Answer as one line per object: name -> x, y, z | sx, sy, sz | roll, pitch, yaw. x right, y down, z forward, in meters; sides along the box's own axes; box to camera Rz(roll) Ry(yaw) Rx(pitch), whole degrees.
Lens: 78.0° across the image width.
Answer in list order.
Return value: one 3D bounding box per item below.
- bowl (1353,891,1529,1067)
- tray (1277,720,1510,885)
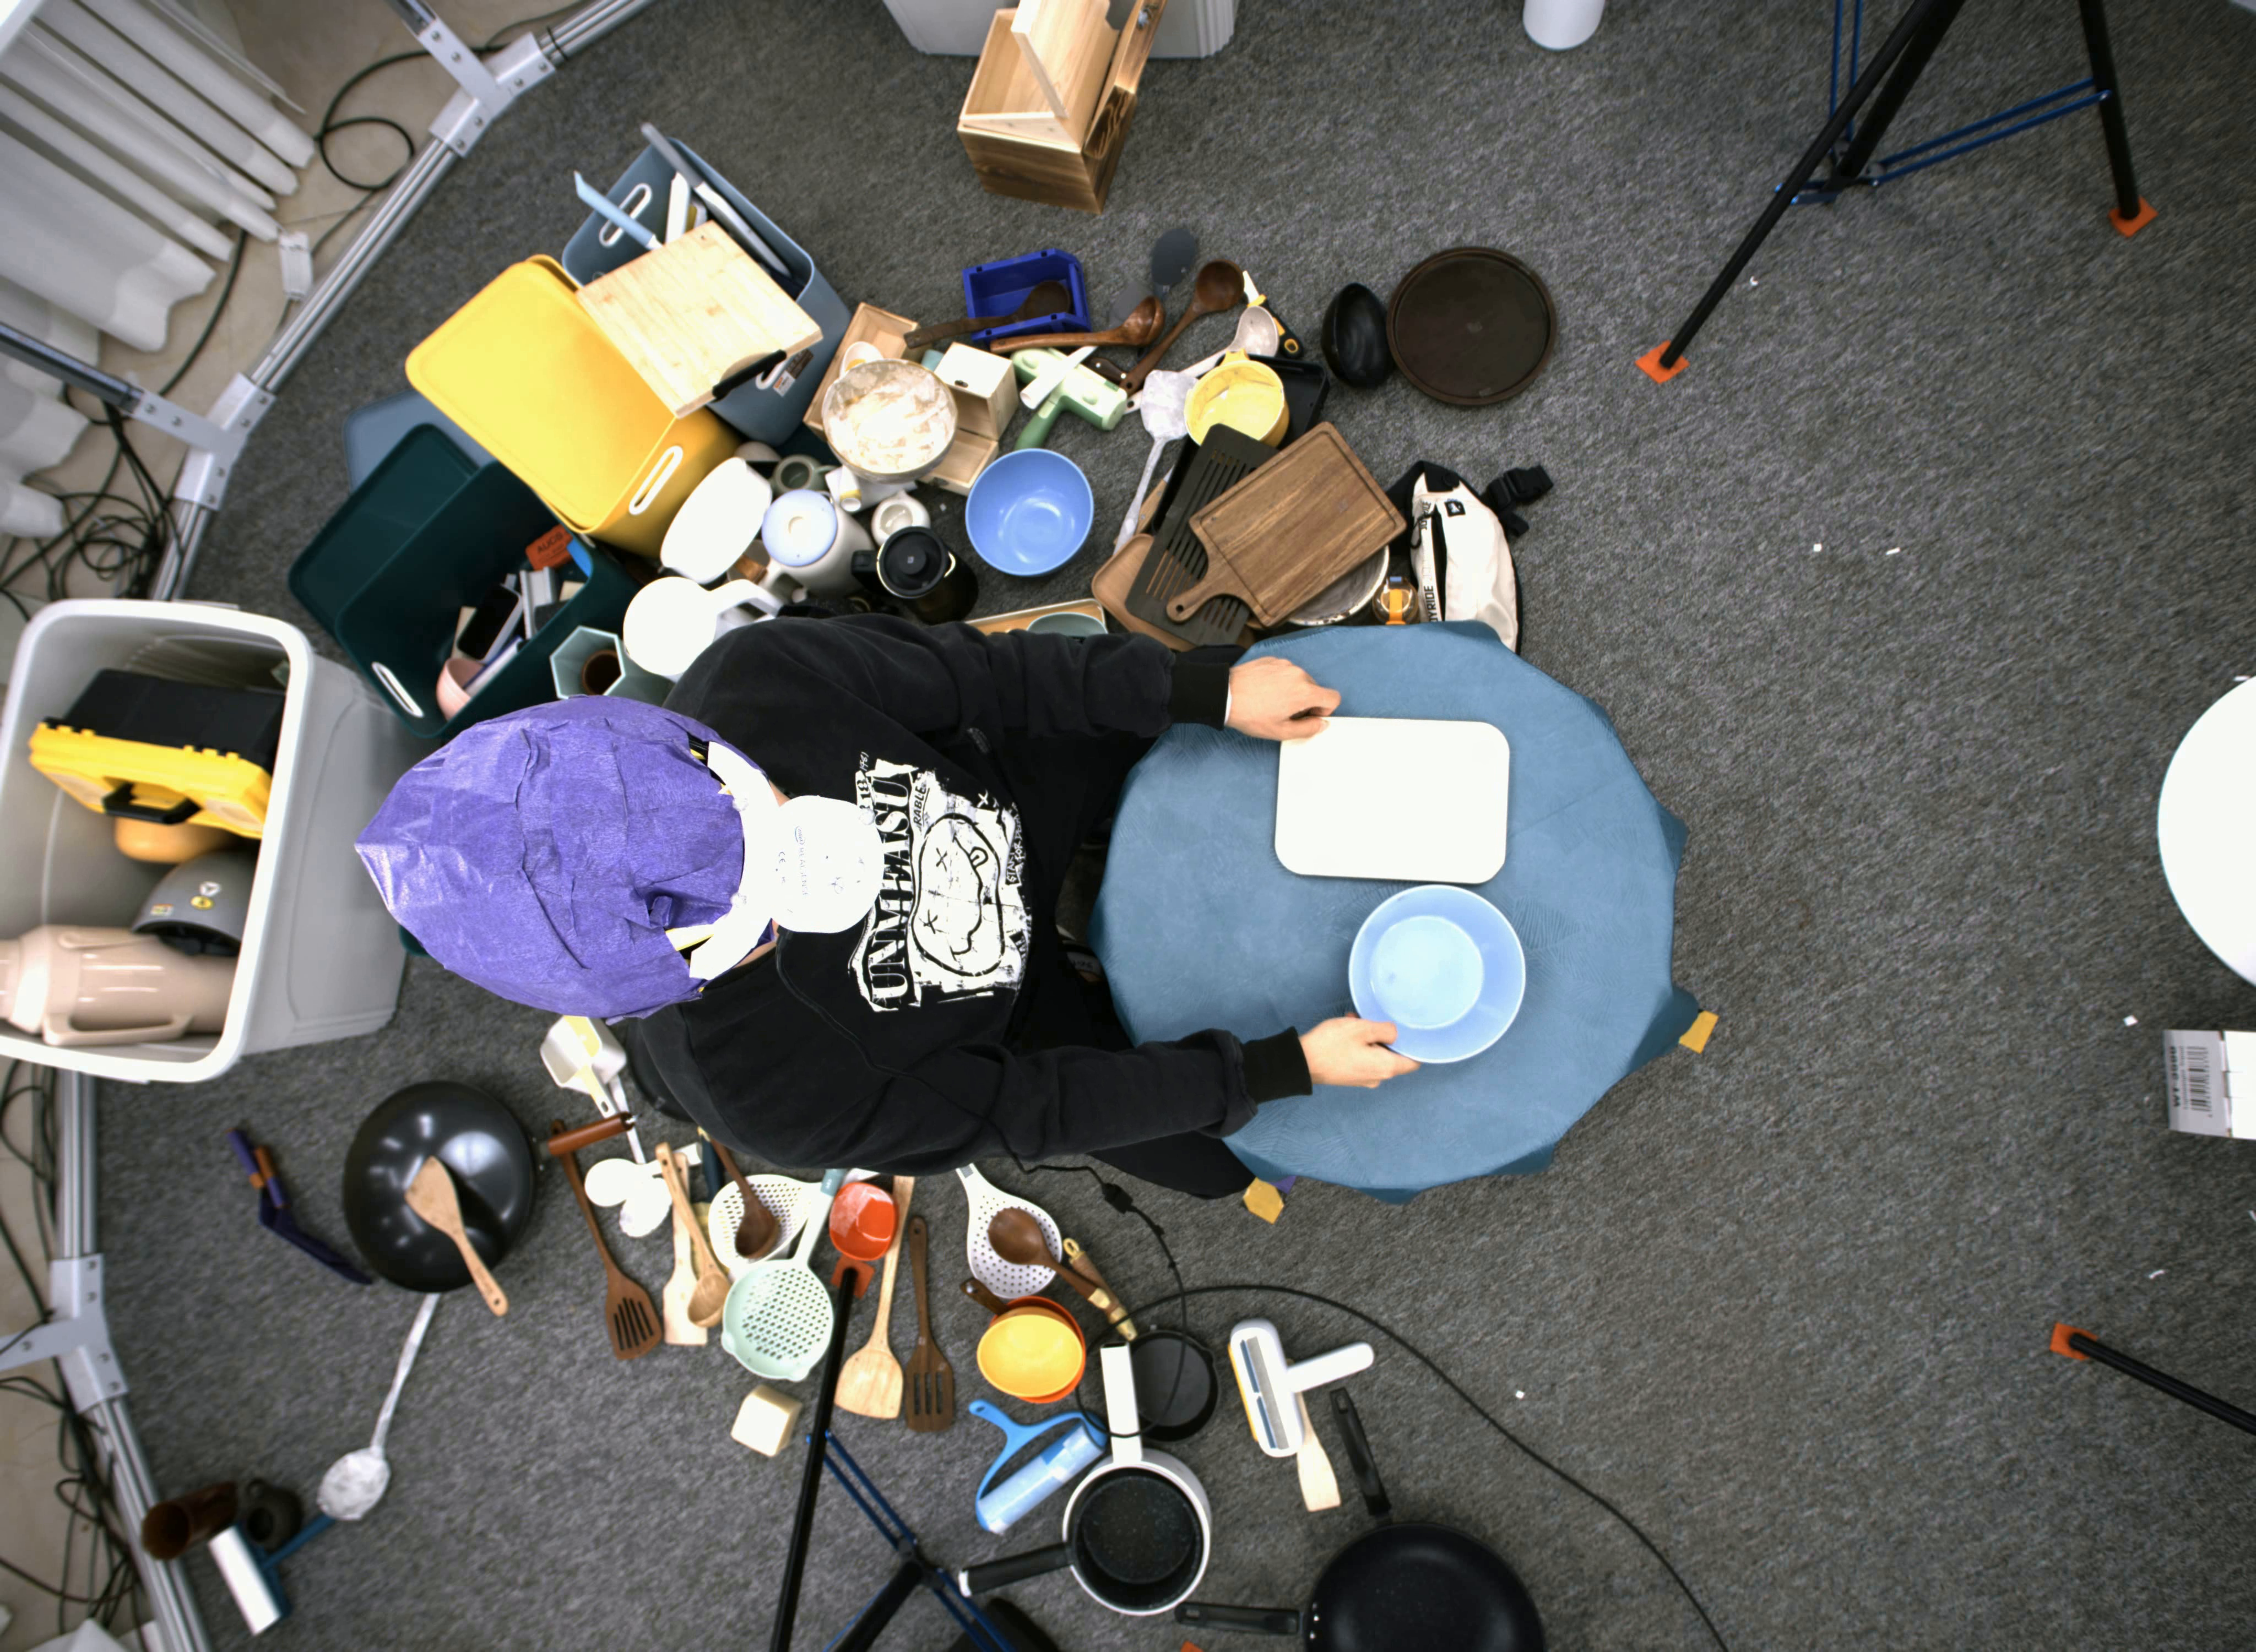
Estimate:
bowl -> 0.313, 0.154, 1.406 | 0.176, 0.070, 0.175 | 0, 86, 2
tray -> 0.280, -0.027, 1.460 | 0.240, 0.017, 0.170 | 3, 86, 10
